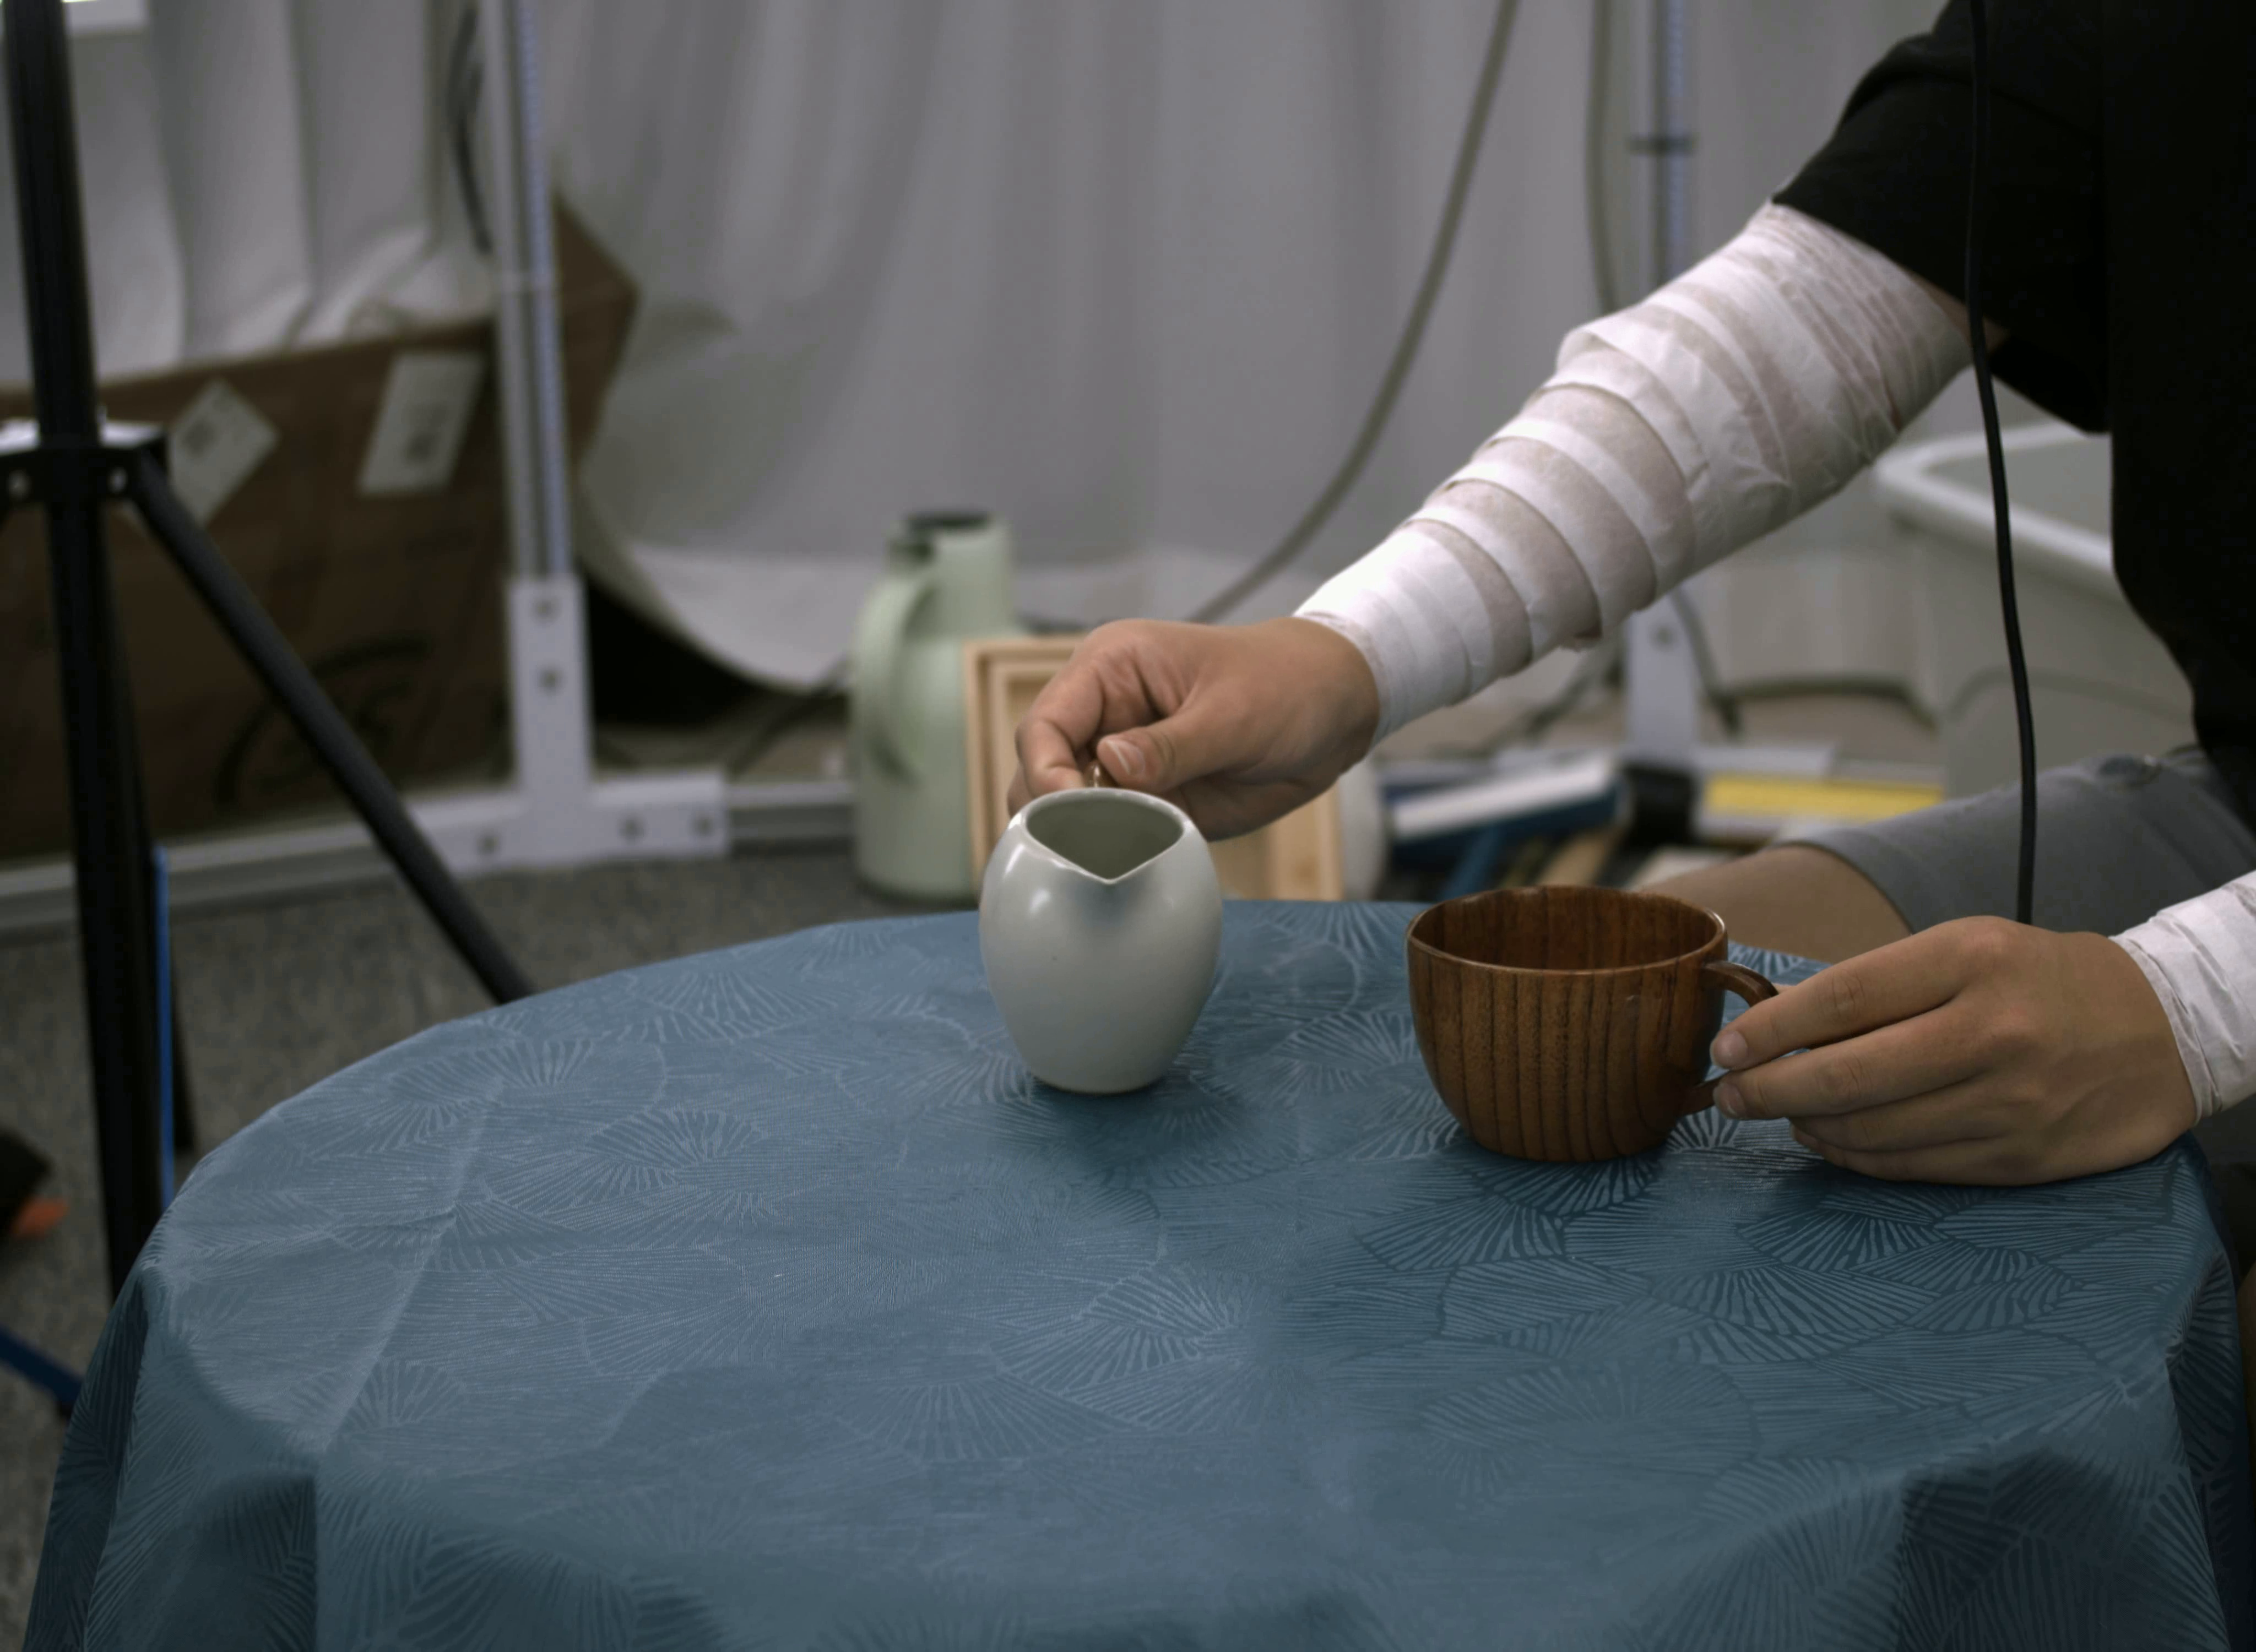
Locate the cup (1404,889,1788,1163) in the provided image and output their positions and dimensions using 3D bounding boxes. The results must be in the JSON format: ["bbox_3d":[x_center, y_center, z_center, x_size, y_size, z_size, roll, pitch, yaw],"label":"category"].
[{"bbox_3d":[0.140,0.063,1.579,0.122,0.068,0.094,9,16,32],"label":"cup"}]

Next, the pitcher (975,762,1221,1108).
[{"bbox_3d":[-0.009,0.035,1.645,0.075,0.088,0.119,8,29,1],"label":"pitcher"}]
